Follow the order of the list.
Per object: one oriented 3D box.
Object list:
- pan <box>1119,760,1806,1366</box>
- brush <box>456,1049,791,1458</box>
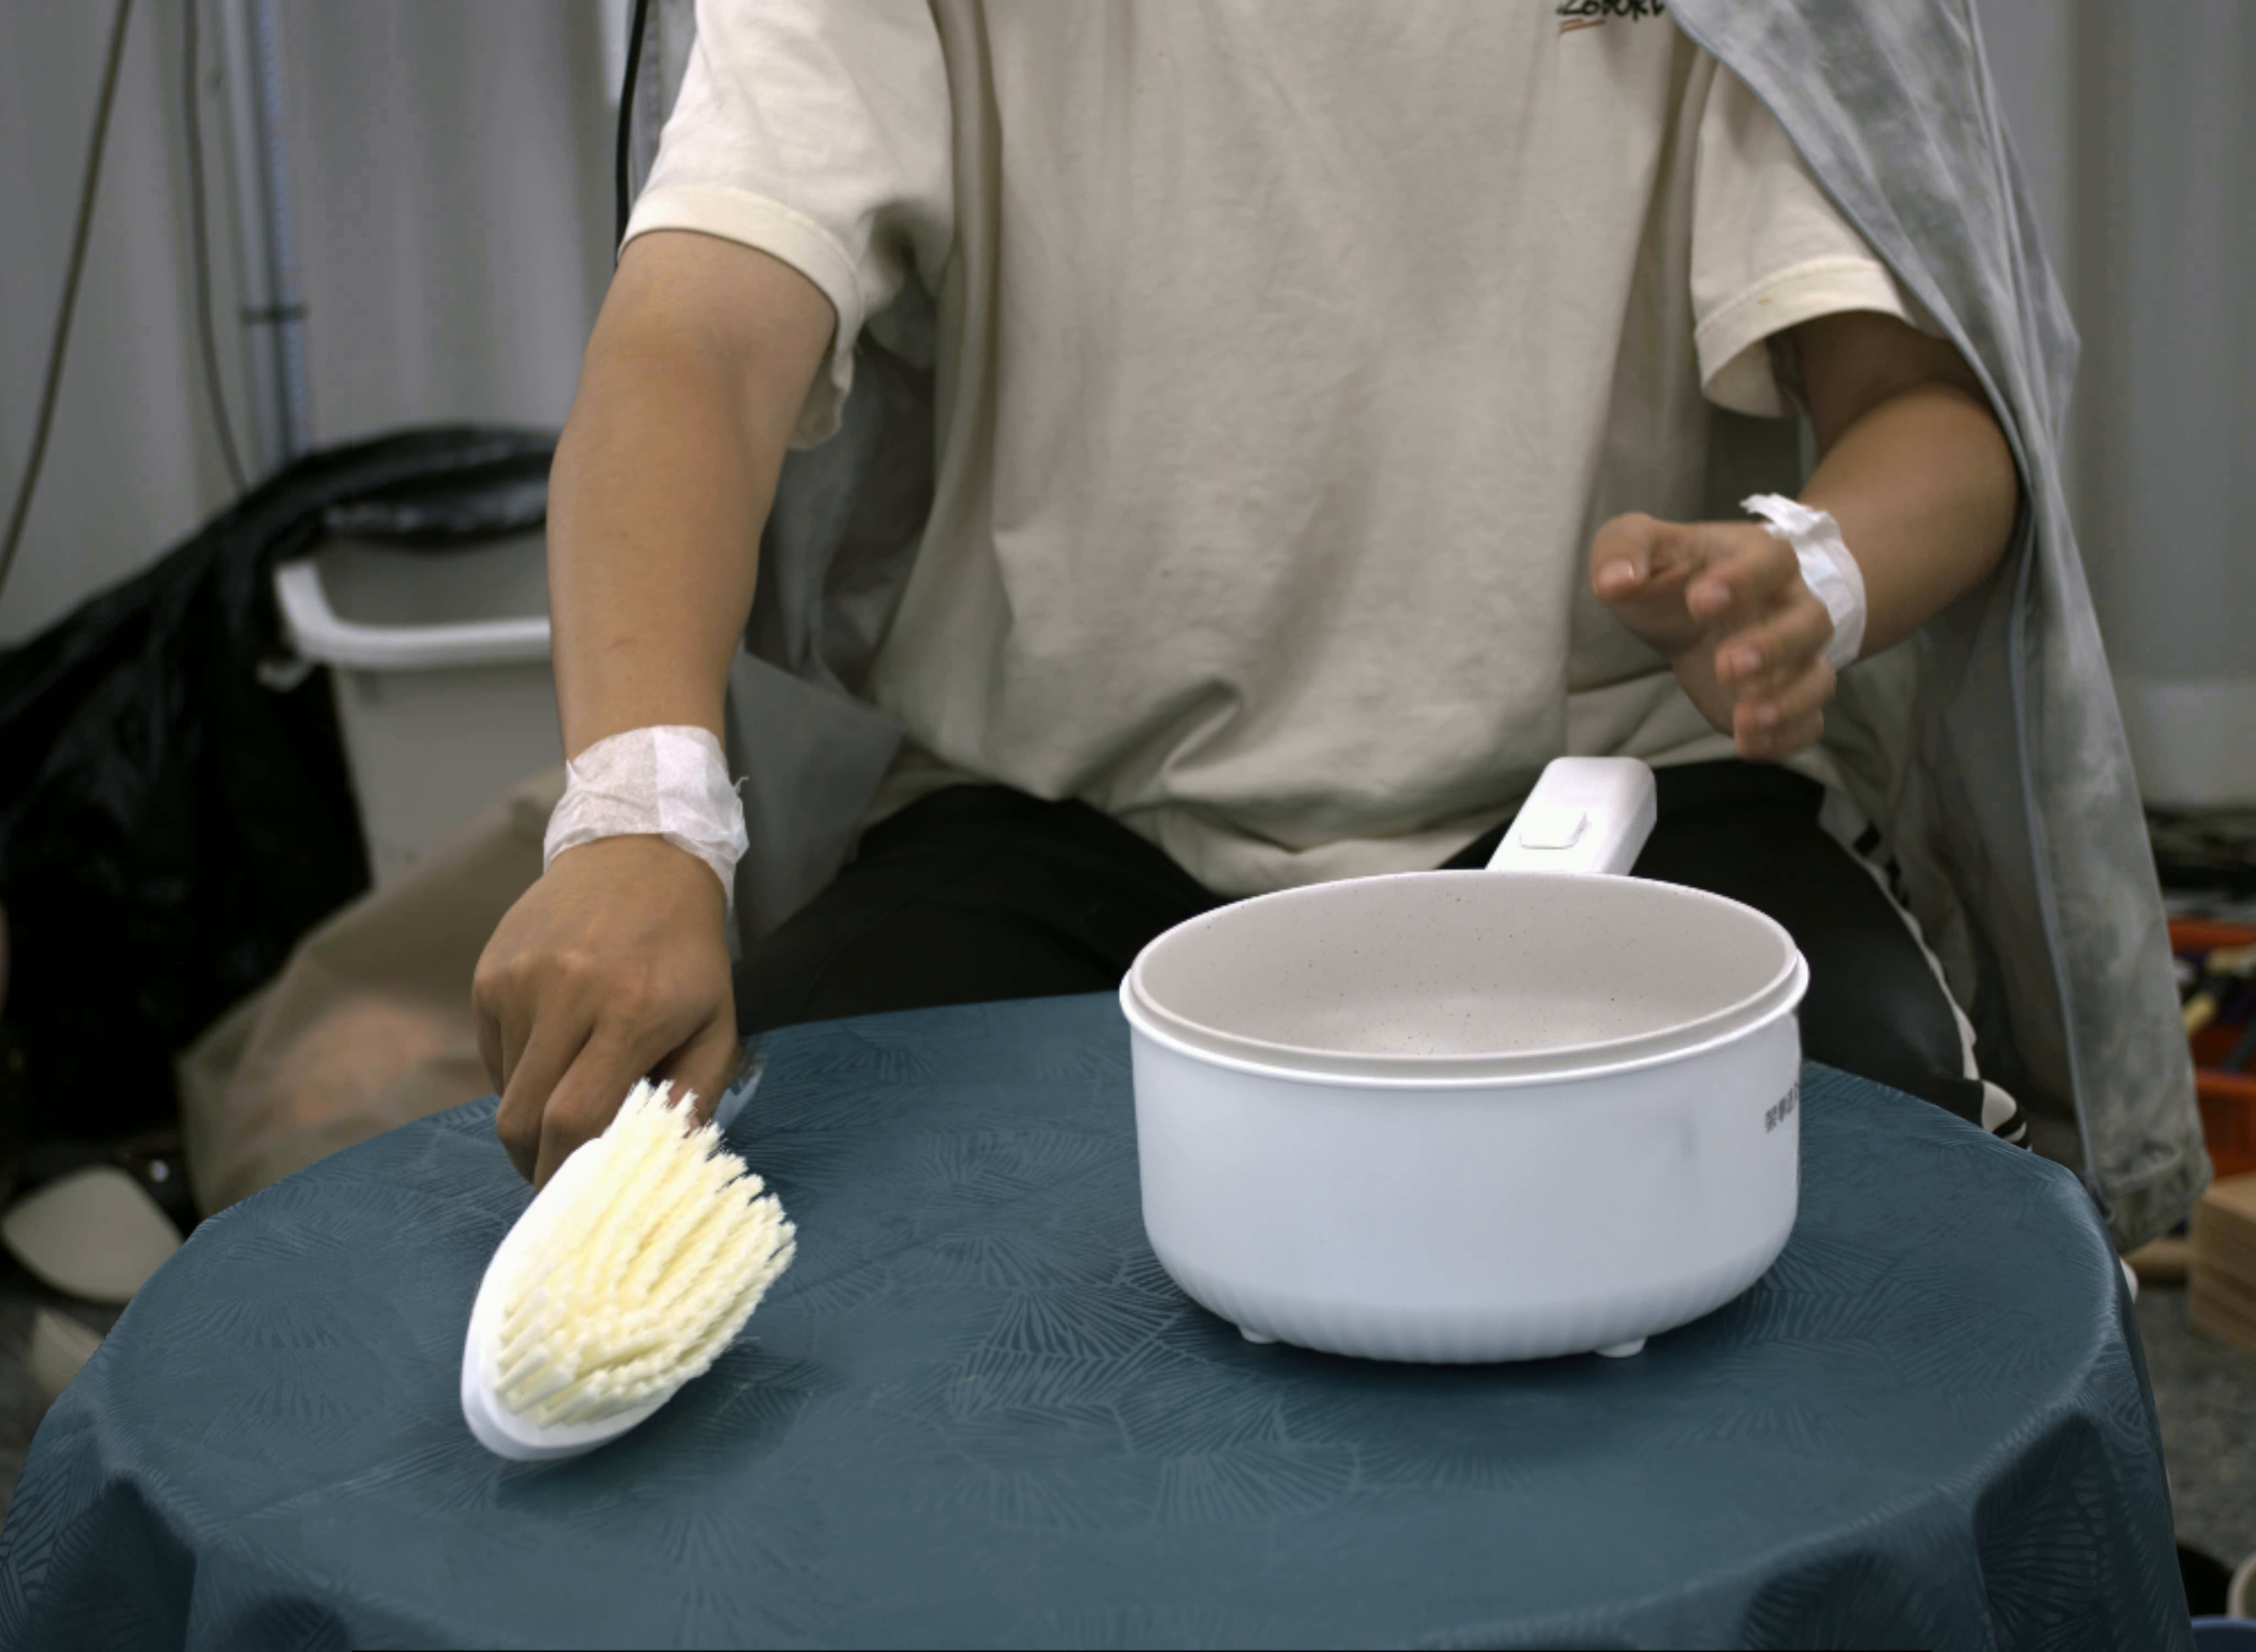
[{"bbox_3d":[0.117,0.068,1.681,0.201,0.102,0.356,1,15,14],"label":"pan"},{"bbox_3d":[-0.132,0.102,1.643,0.084,0.083,0.327,-1,15,8],"label":"brush"}]
